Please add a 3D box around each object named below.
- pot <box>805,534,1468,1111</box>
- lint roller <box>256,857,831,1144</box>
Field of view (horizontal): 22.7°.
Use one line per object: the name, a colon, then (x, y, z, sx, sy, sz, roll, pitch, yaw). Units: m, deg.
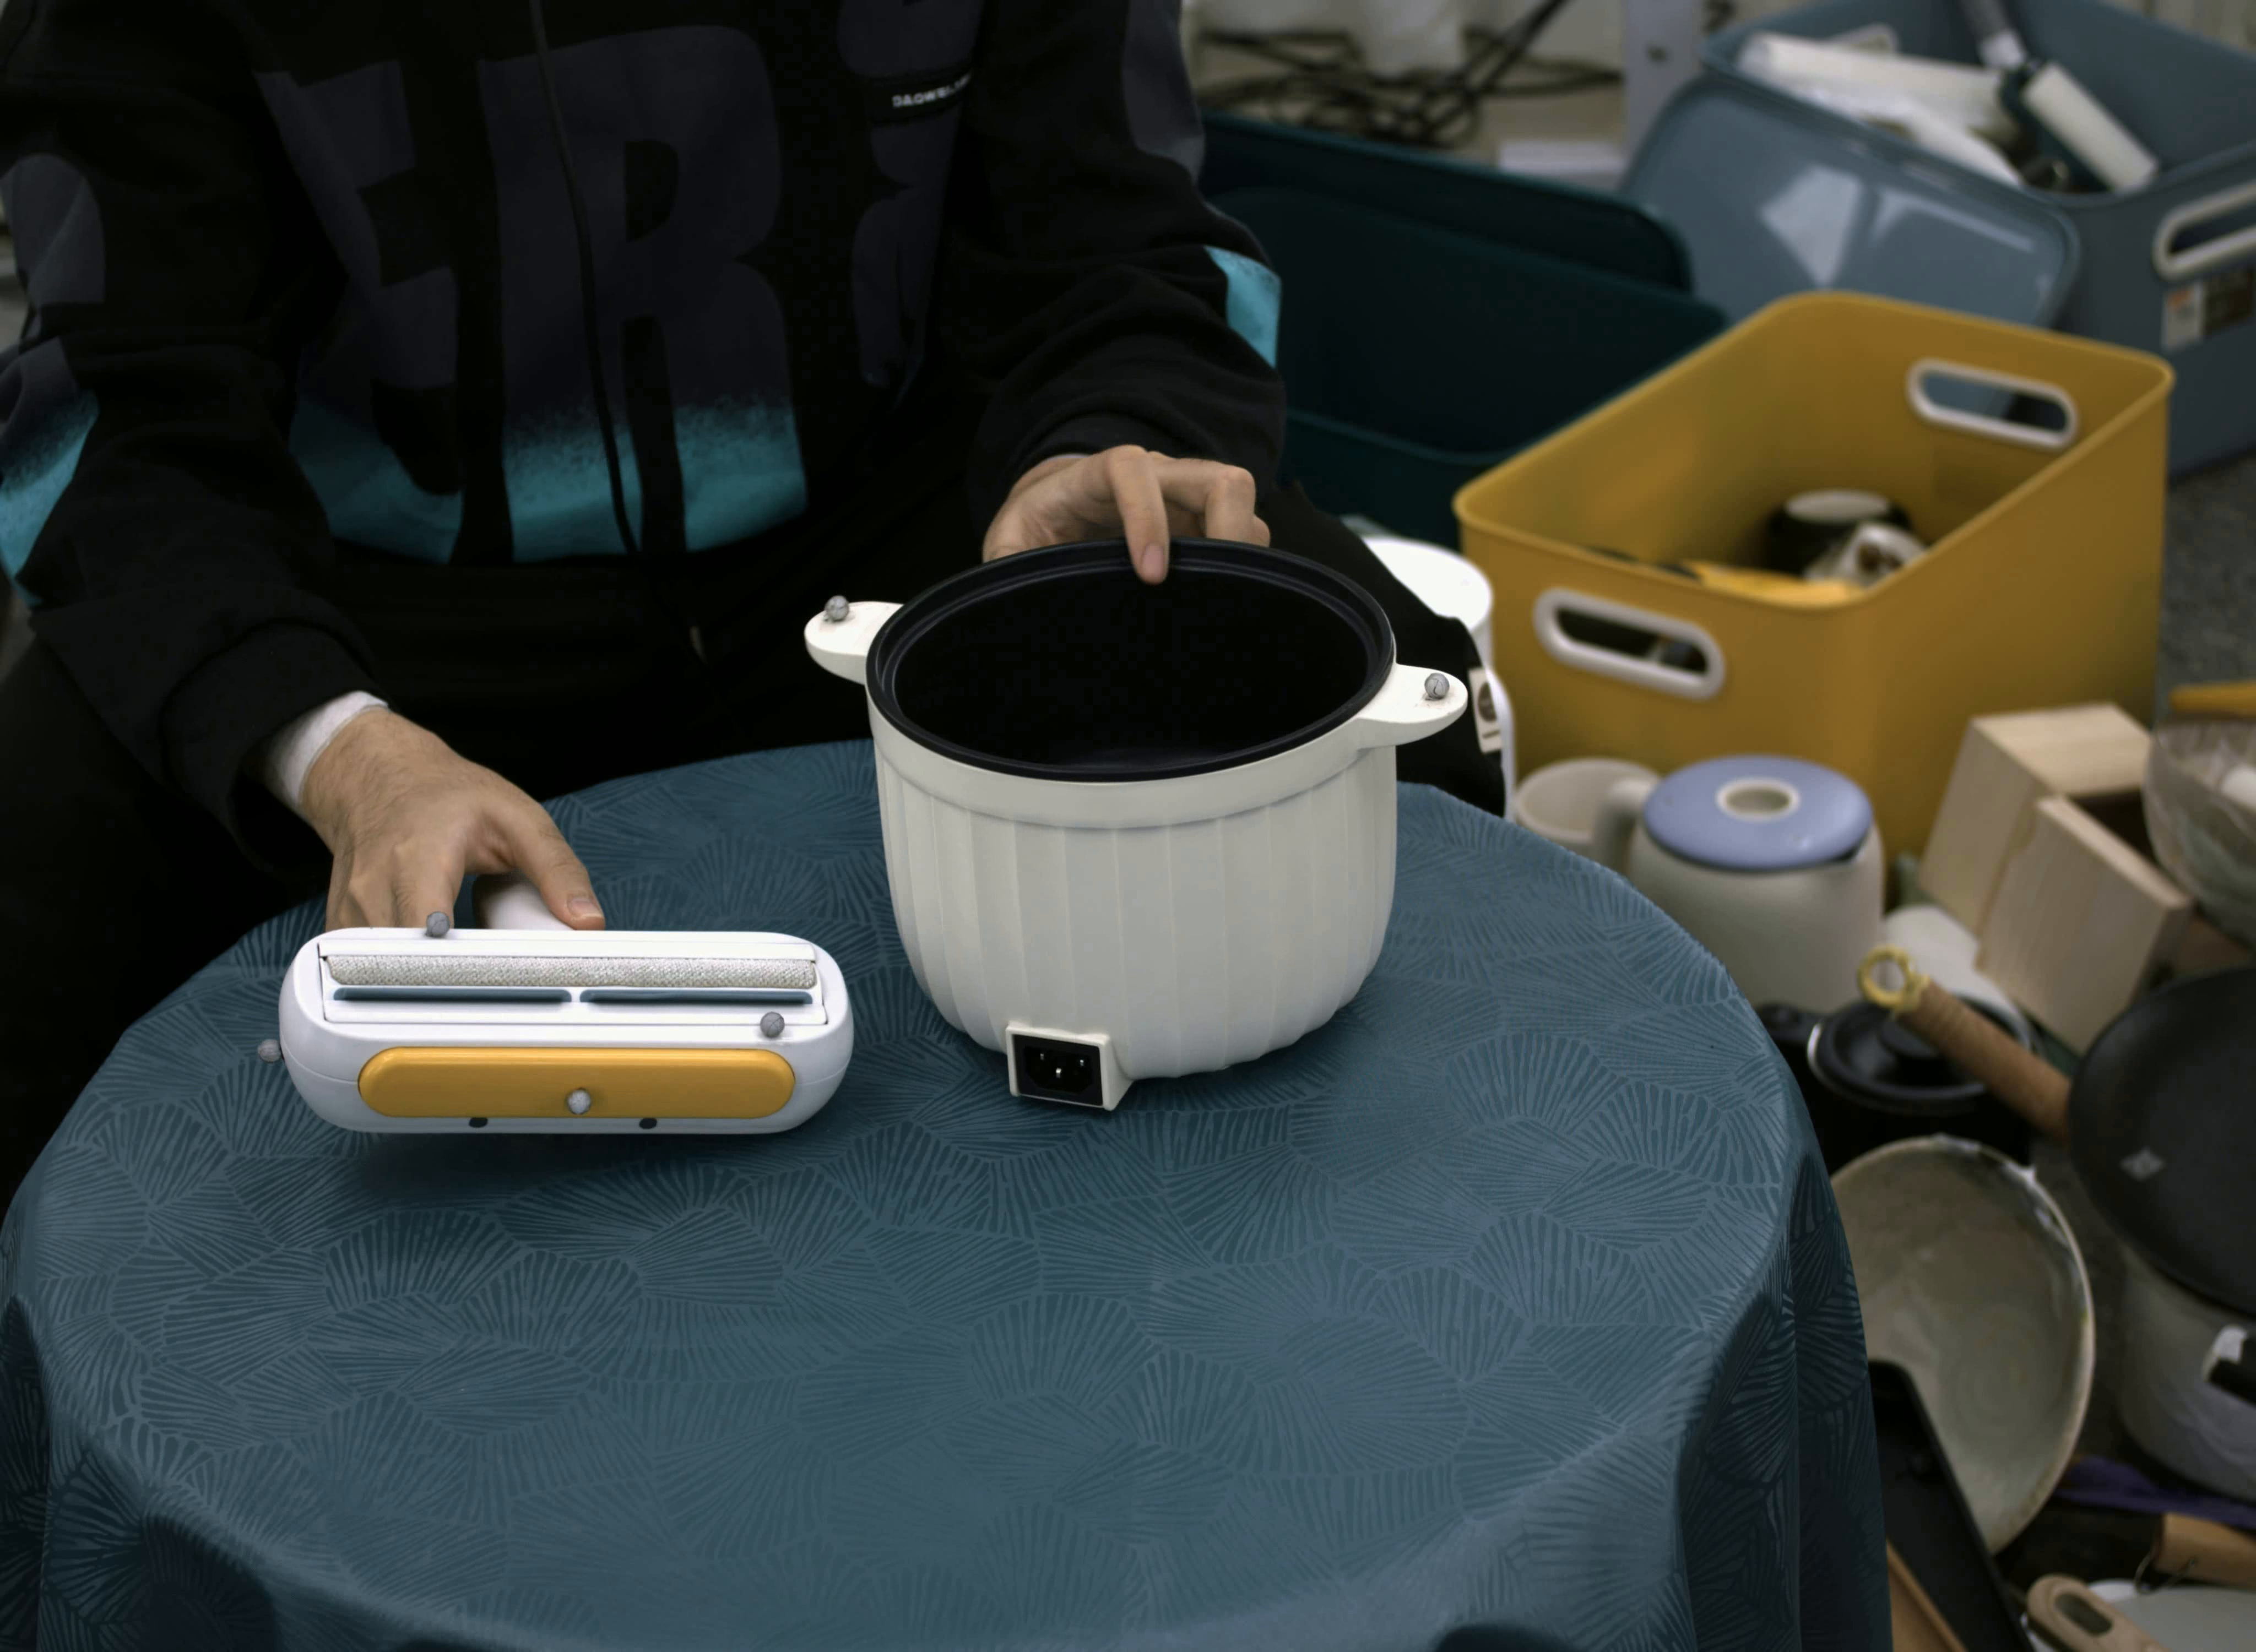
pot: (0.005, -0.005, 1.953, 0.239, 0.141, 0.194, 8, 32, 19)
lint roller: (-0.204, 0.048, 1.943, 0.192, 0.073, 0.195, -1, 28, -9)
